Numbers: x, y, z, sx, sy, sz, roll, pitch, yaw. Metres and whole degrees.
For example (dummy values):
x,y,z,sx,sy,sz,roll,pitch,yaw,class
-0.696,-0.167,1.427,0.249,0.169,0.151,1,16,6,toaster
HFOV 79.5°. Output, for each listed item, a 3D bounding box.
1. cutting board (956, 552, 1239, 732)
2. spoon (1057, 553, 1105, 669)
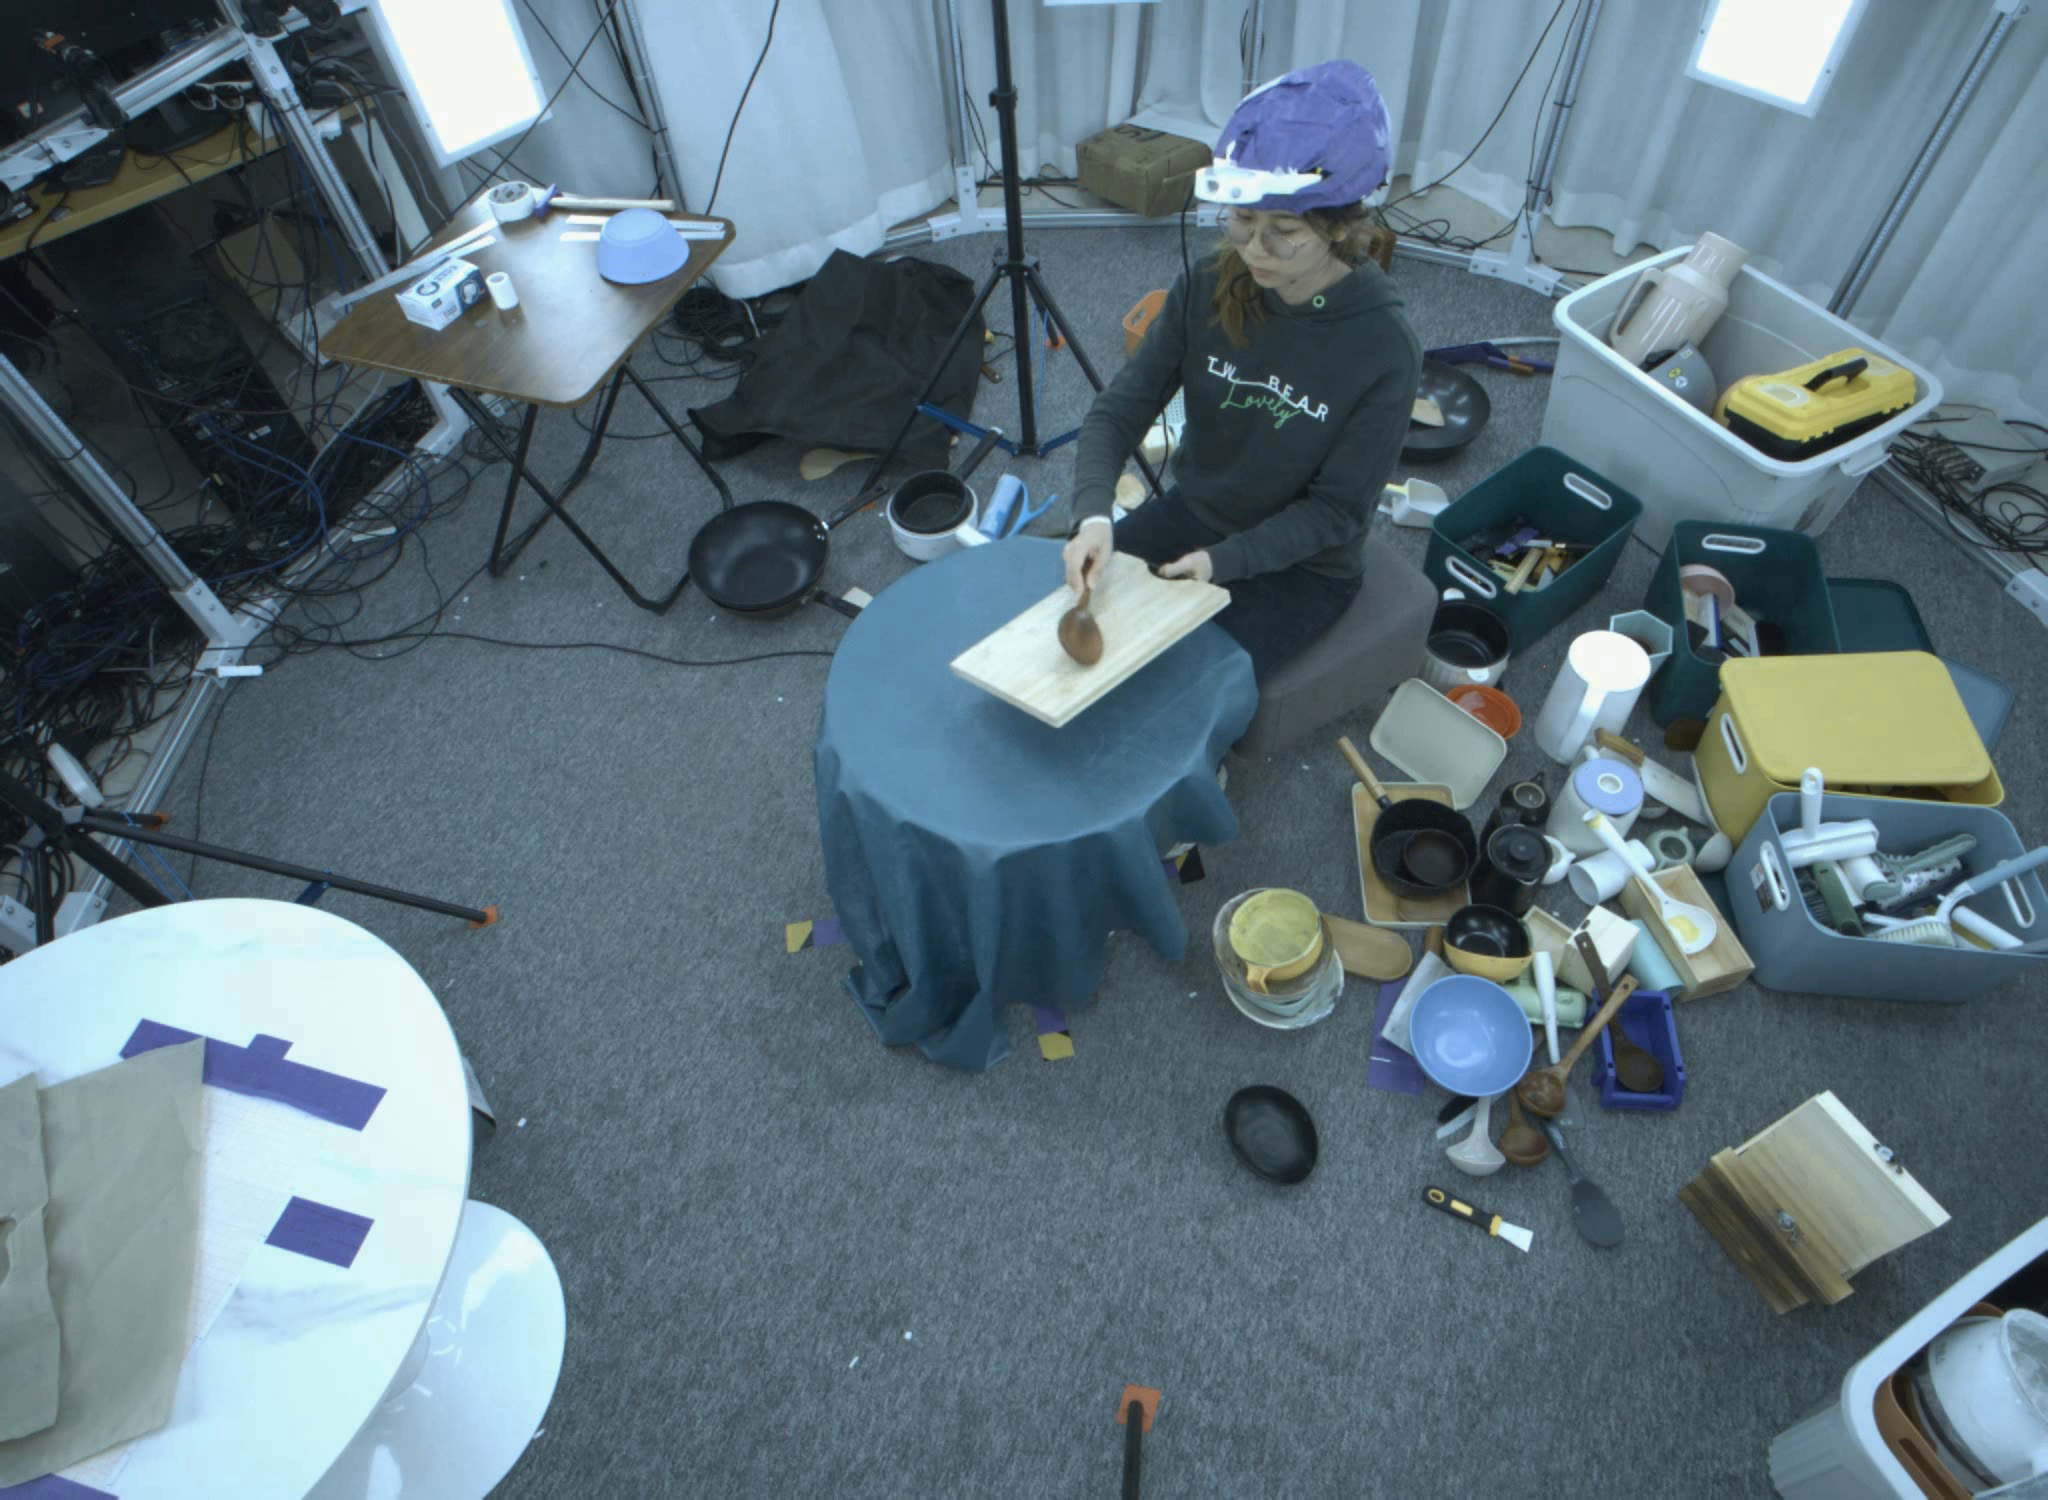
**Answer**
x,y,z,sx,sy,sz,roll,pitch,yaw,class
0.102,-0.167,1.772,0.351,0.024,0.245,-37,43,-24,cutting board
0.085,-0.198,1.733,0.077,0.017,0.214,26,51,-22,spoon
